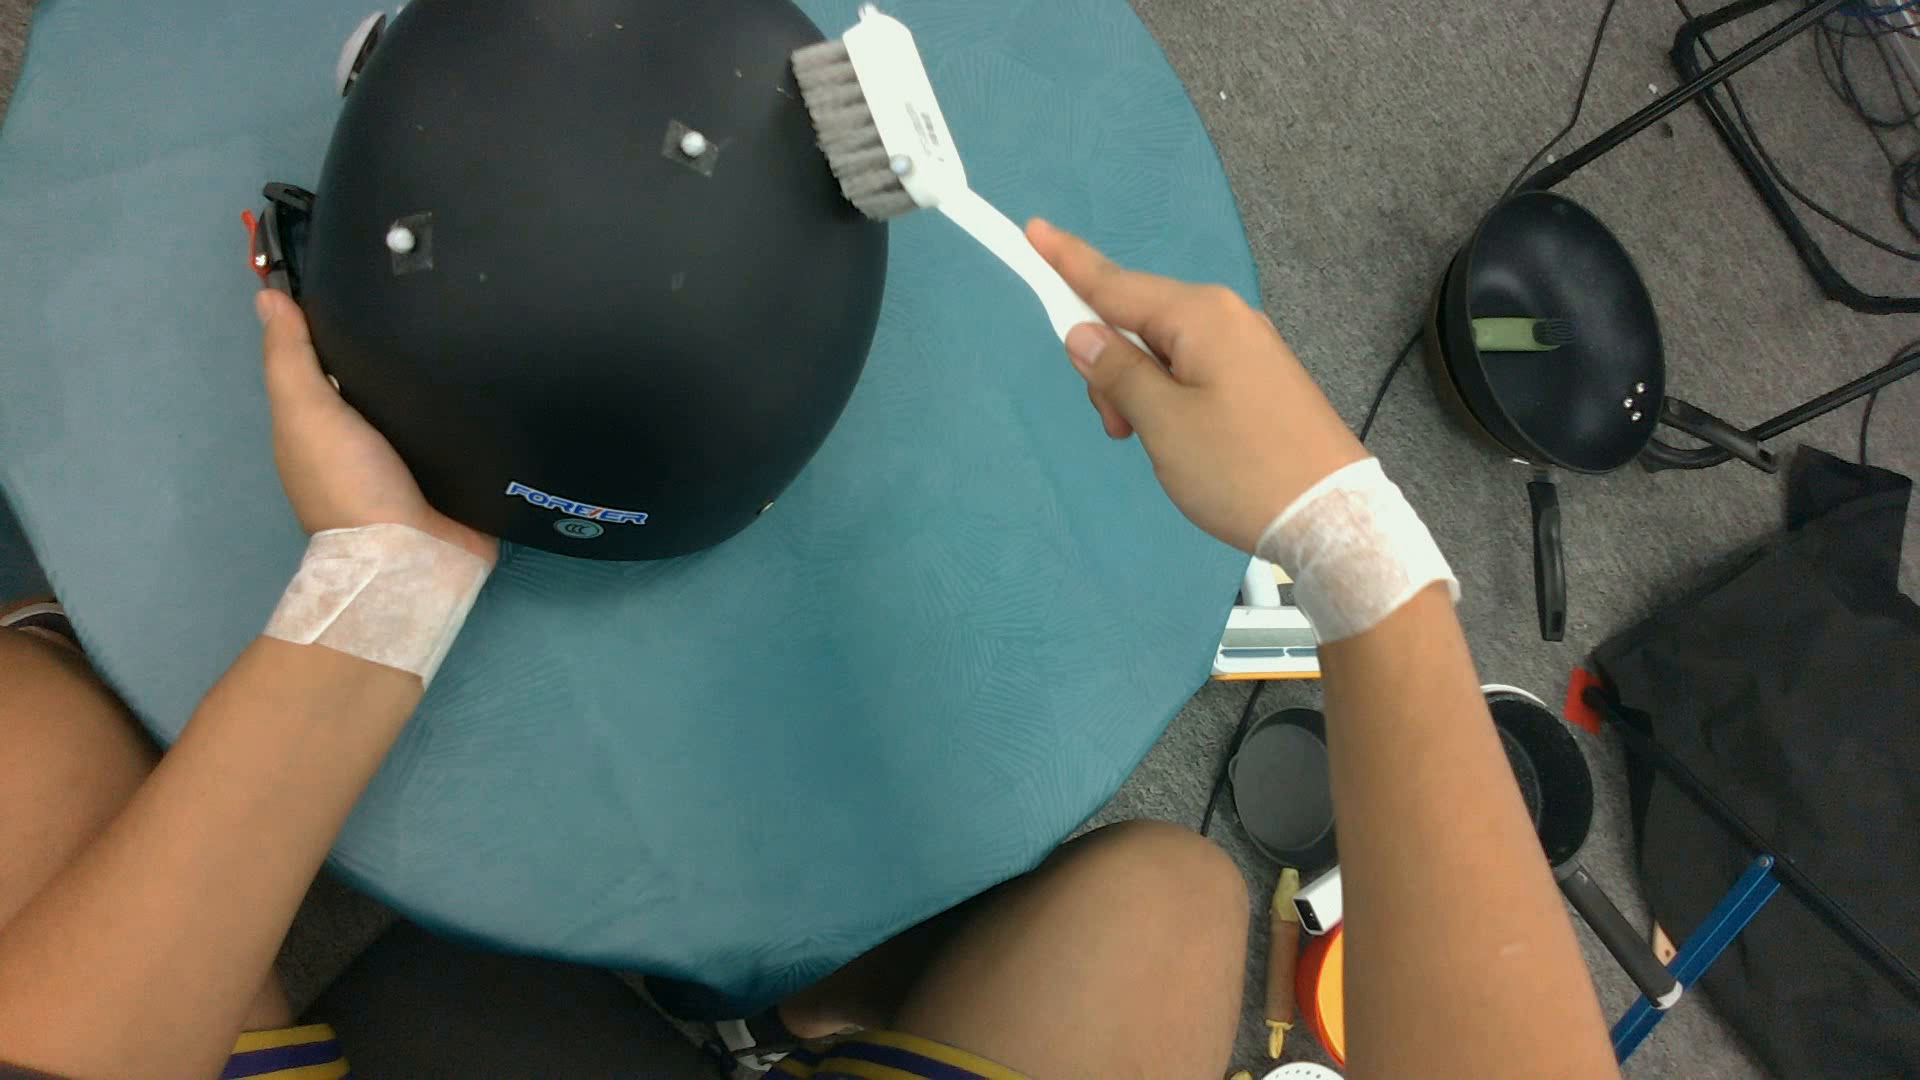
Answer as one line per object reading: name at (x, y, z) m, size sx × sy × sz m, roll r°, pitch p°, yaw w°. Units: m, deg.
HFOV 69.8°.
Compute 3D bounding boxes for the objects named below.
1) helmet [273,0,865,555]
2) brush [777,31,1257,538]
helmet at (-0.138, -0.136, 0.548) m, size 0.230 × 0.166 × 0.274 m, roll 20°, pitch 68°, yaw -28°
brush at (0.016, -0.087, 0.507) m, size 0.244 × 0.050 × 0.034 m, roll 52°, pitch 30°, yaw 5°
